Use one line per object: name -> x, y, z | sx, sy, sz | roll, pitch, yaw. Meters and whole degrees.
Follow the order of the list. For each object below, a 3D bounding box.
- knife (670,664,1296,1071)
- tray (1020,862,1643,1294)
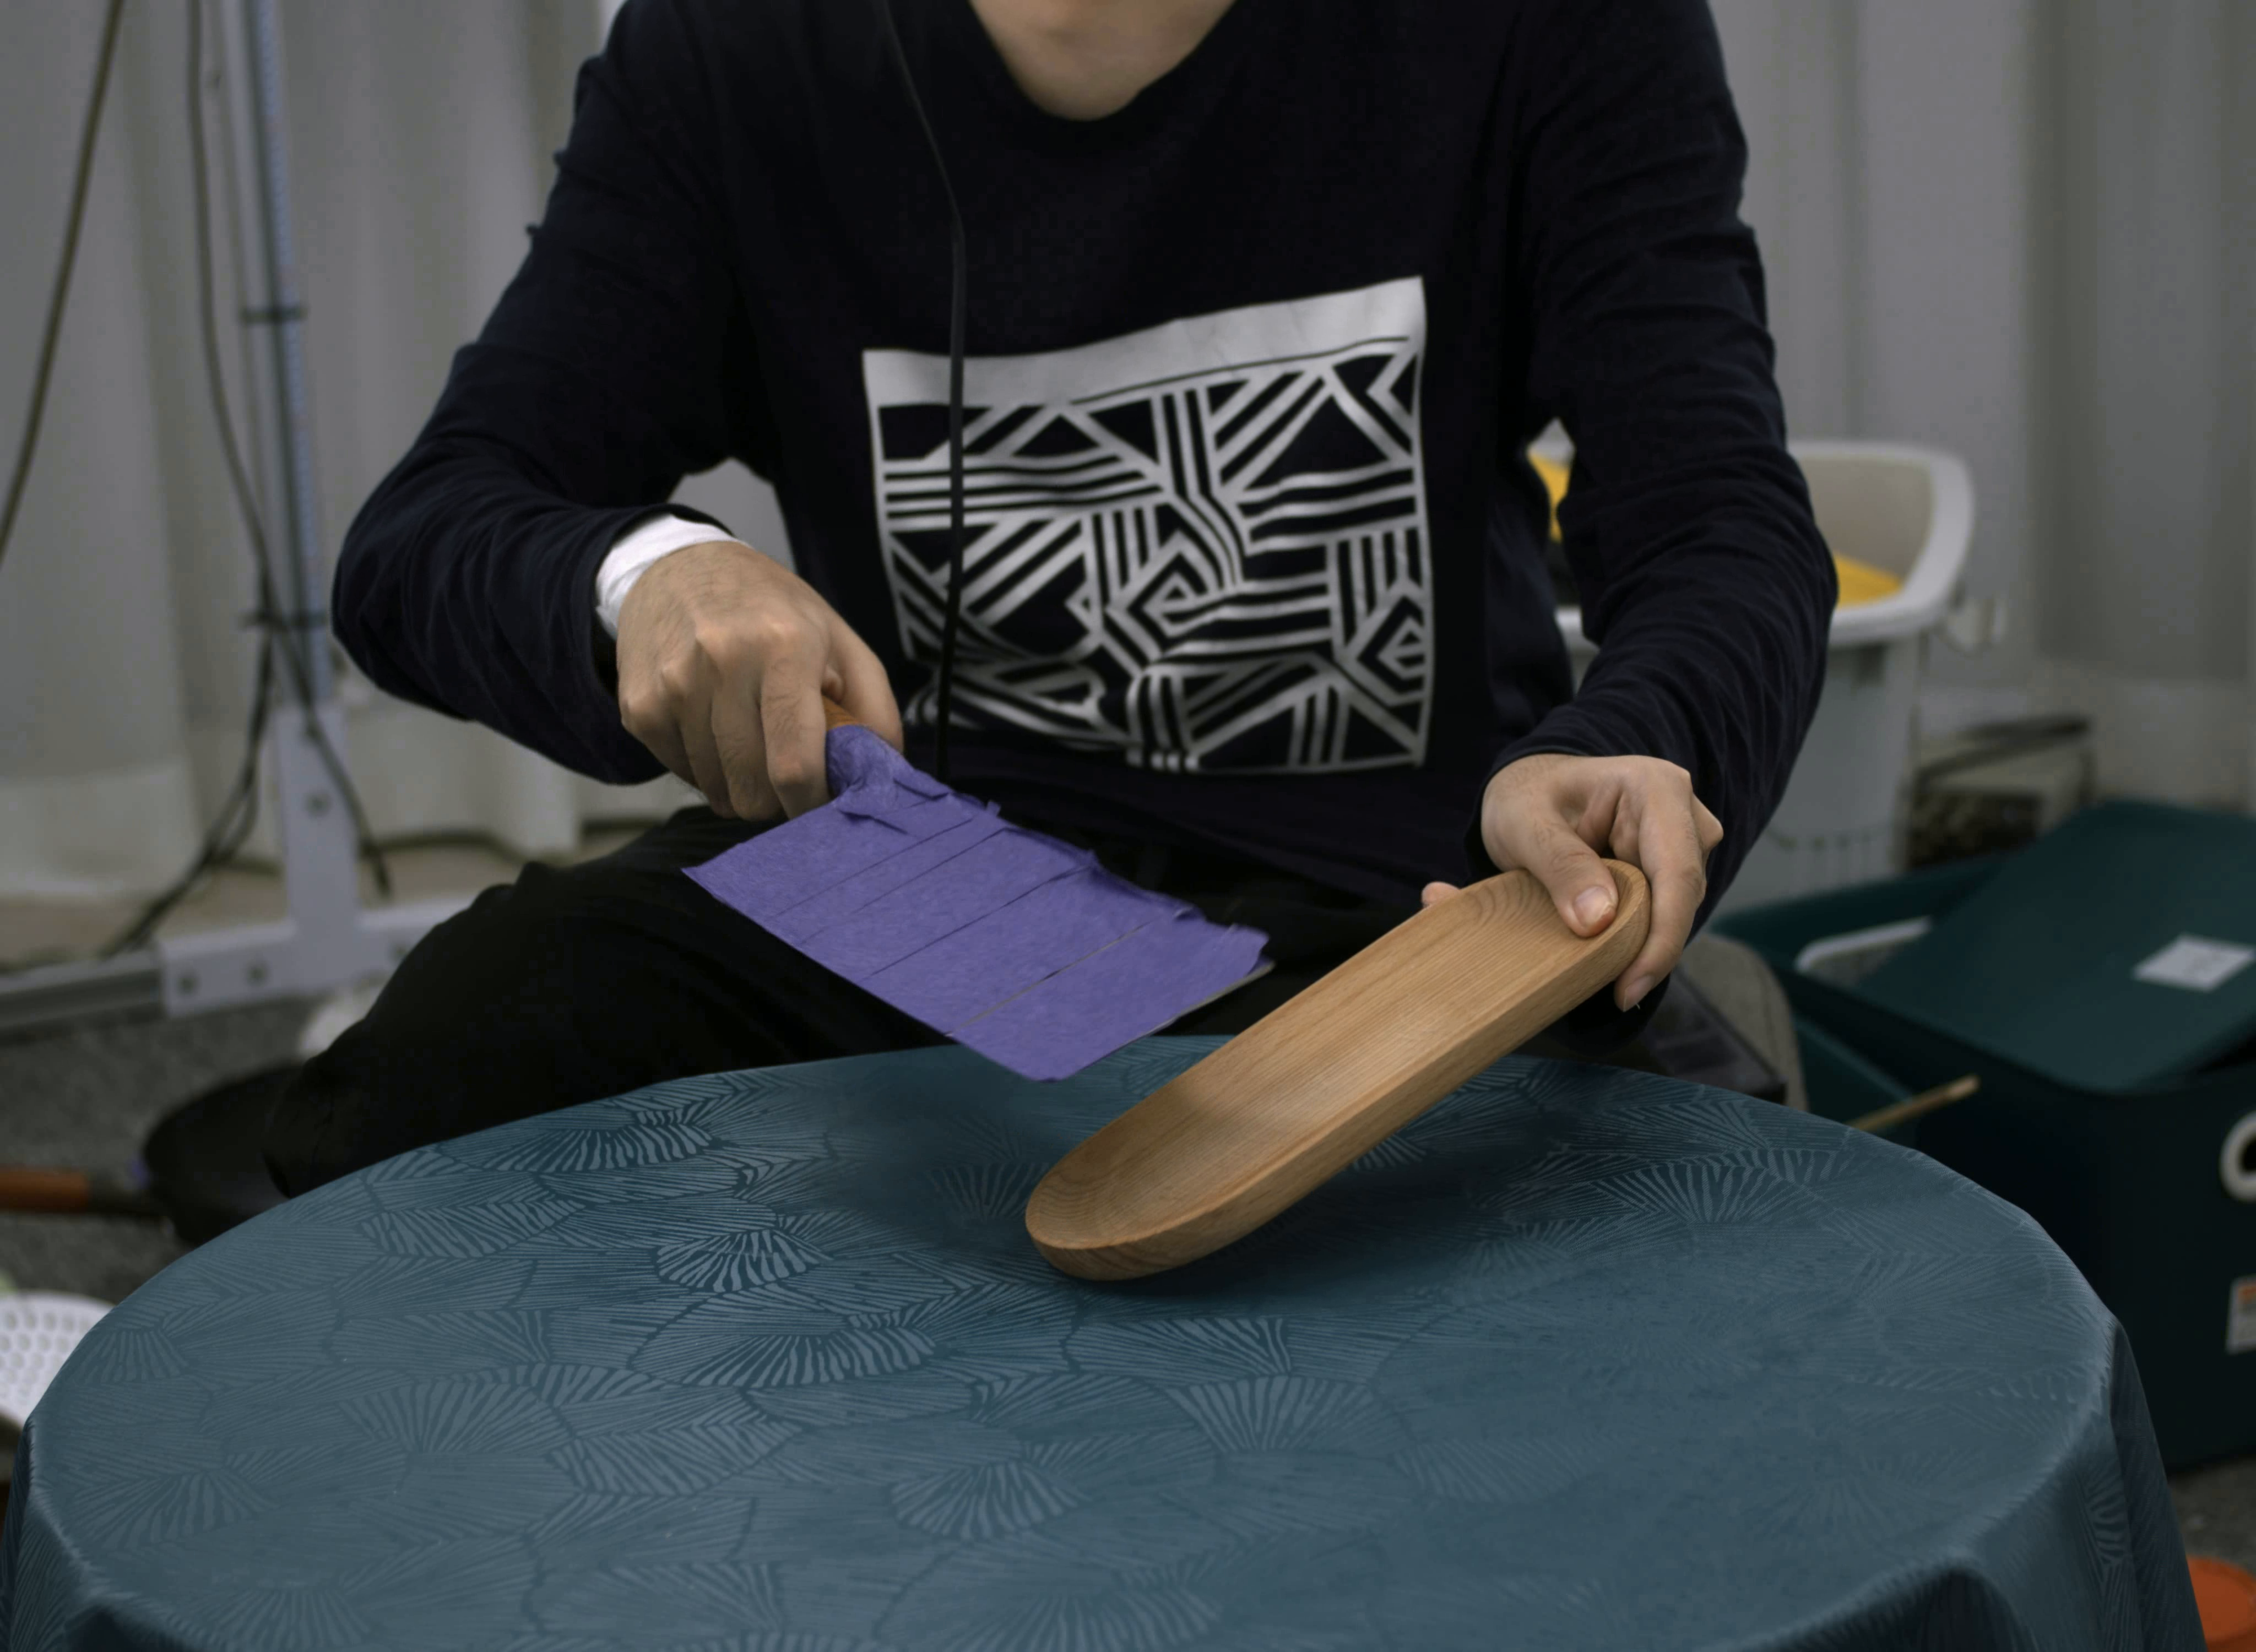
knife -> -0.079, 0.010, 1.747 | 0.104, 0.032, 0.318 | -24, 28, -28
tray -> 0.065, 0.076, 1.680 | 0.232, 0.020, 0.102 | -36, 21, -25
